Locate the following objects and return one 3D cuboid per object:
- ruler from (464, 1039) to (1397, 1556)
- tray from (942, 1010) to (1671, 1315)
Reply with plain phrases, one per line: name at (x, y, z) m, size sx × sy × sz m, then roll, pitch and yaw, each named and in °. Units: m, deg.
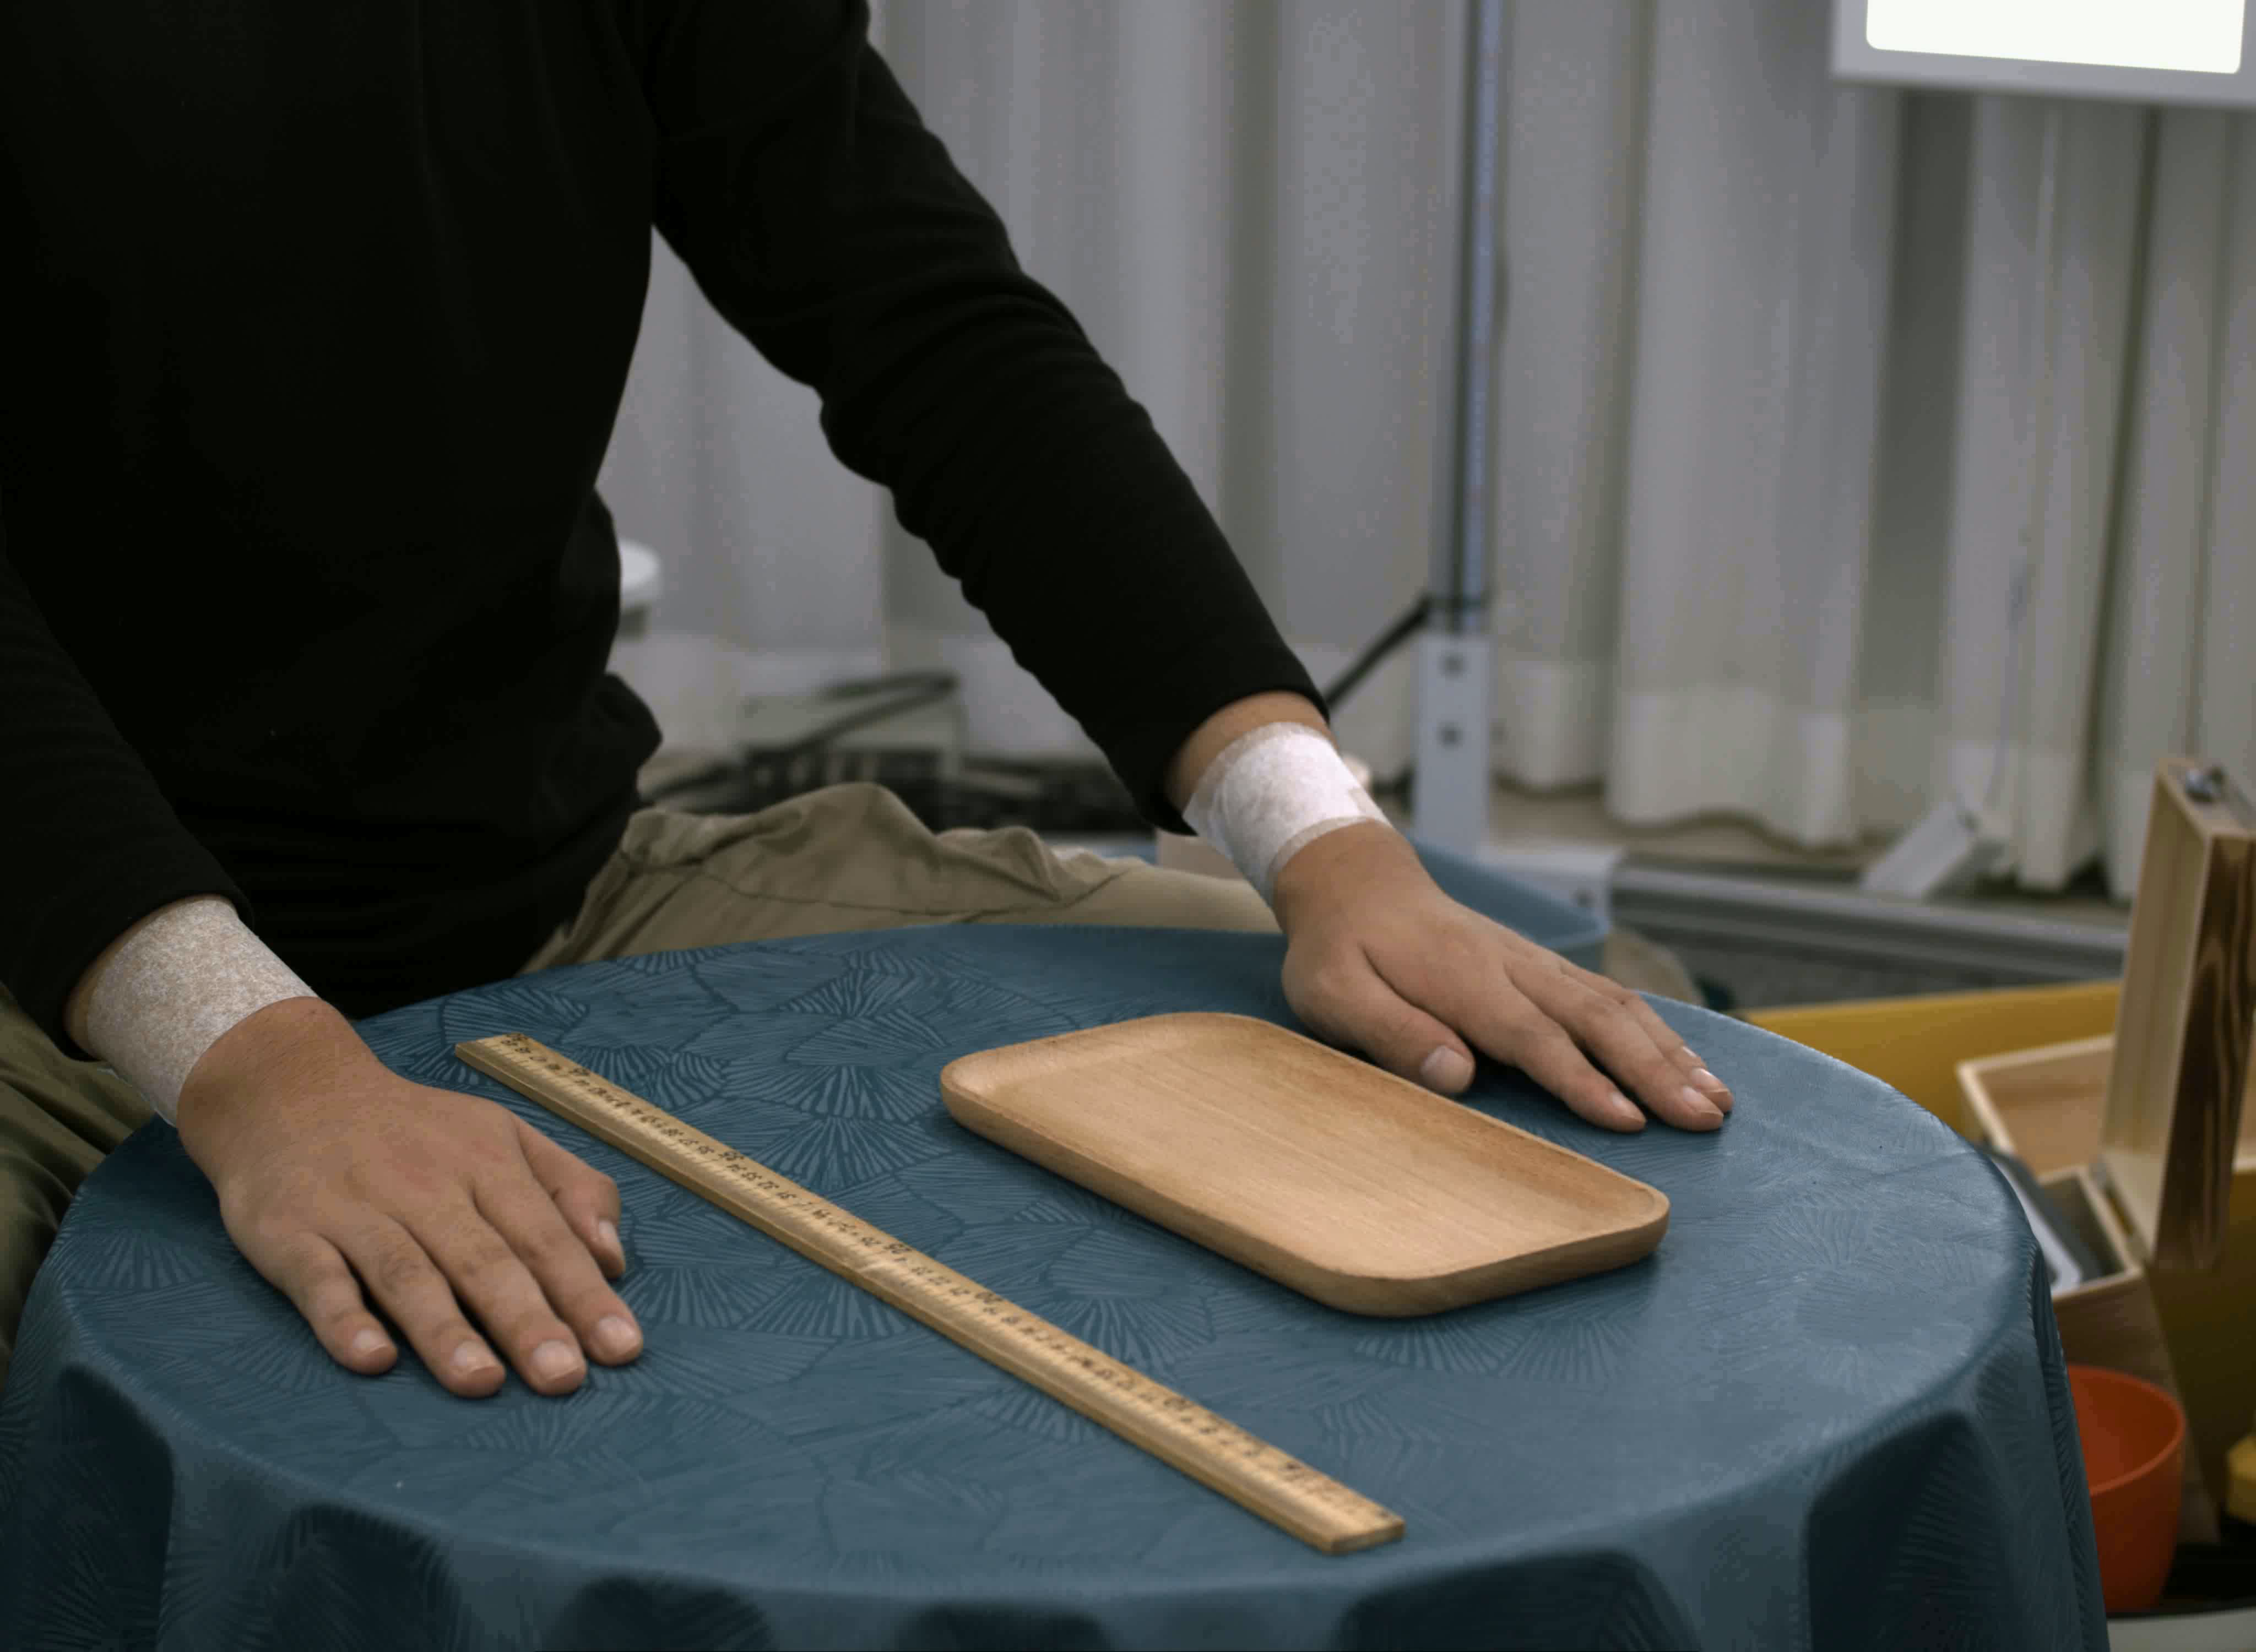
ruler at (-0.074, 0.128, 1.551) m, size 0.027 × 0.006 × 0.494 m, roll -6°, pitch 16°, yaw -33°
tray at (0.051, 0.101, 1.631) m, size 0.131 × 0.023 × 0.247 m, roll -7°, pitch 16°, yaw -33°
